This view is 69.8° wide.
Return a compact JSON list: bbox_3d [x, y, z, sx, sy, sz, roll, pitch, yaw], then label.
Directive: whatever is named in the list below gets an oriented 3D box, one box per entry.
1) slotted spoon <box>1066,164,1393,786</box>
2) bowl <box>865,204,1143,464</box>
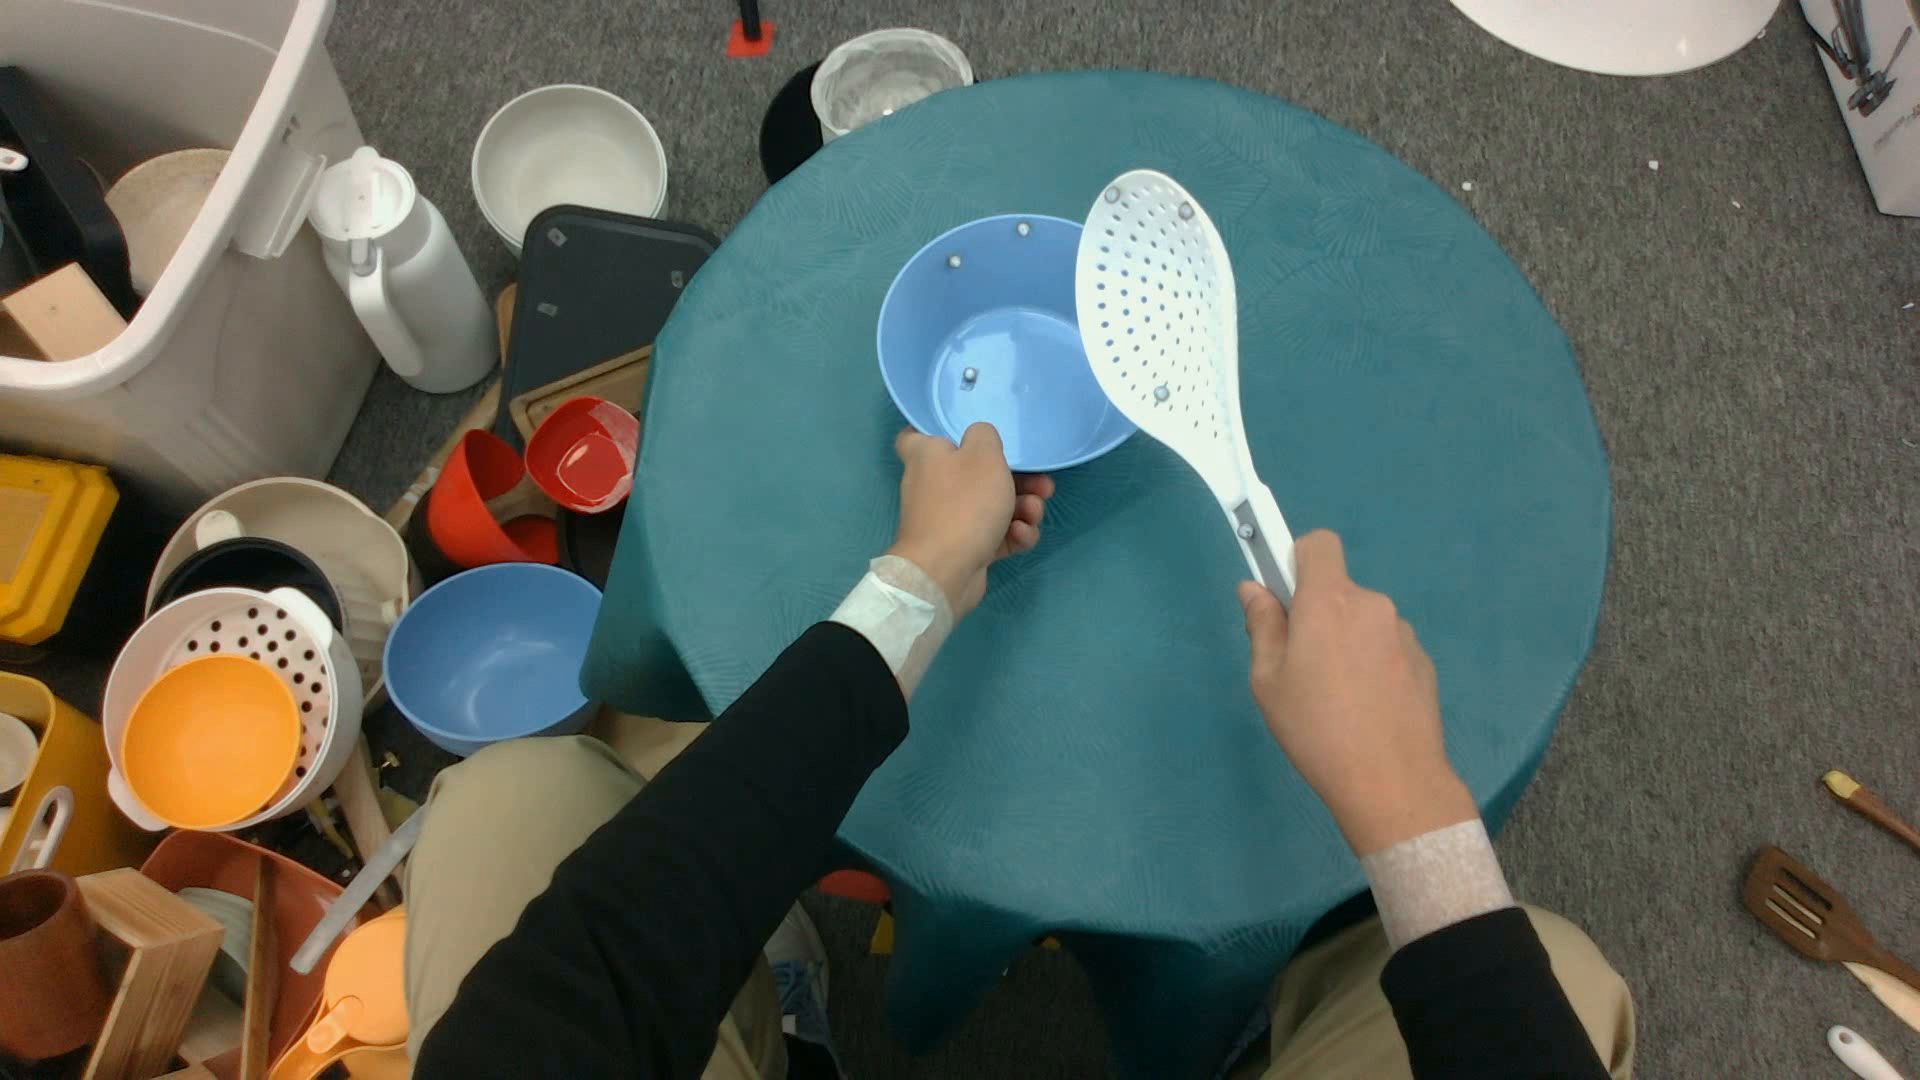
[{"bbox_3d":[0.137,-0.040,0.714,0.046,0.135,0.350,-8,67,-22],"label":"slotted spoon"},{"bbox_3d":[0.031,-0.113,0.837,0.176,0.070,0.176,1,67,-1],"label":"bowl"}]
